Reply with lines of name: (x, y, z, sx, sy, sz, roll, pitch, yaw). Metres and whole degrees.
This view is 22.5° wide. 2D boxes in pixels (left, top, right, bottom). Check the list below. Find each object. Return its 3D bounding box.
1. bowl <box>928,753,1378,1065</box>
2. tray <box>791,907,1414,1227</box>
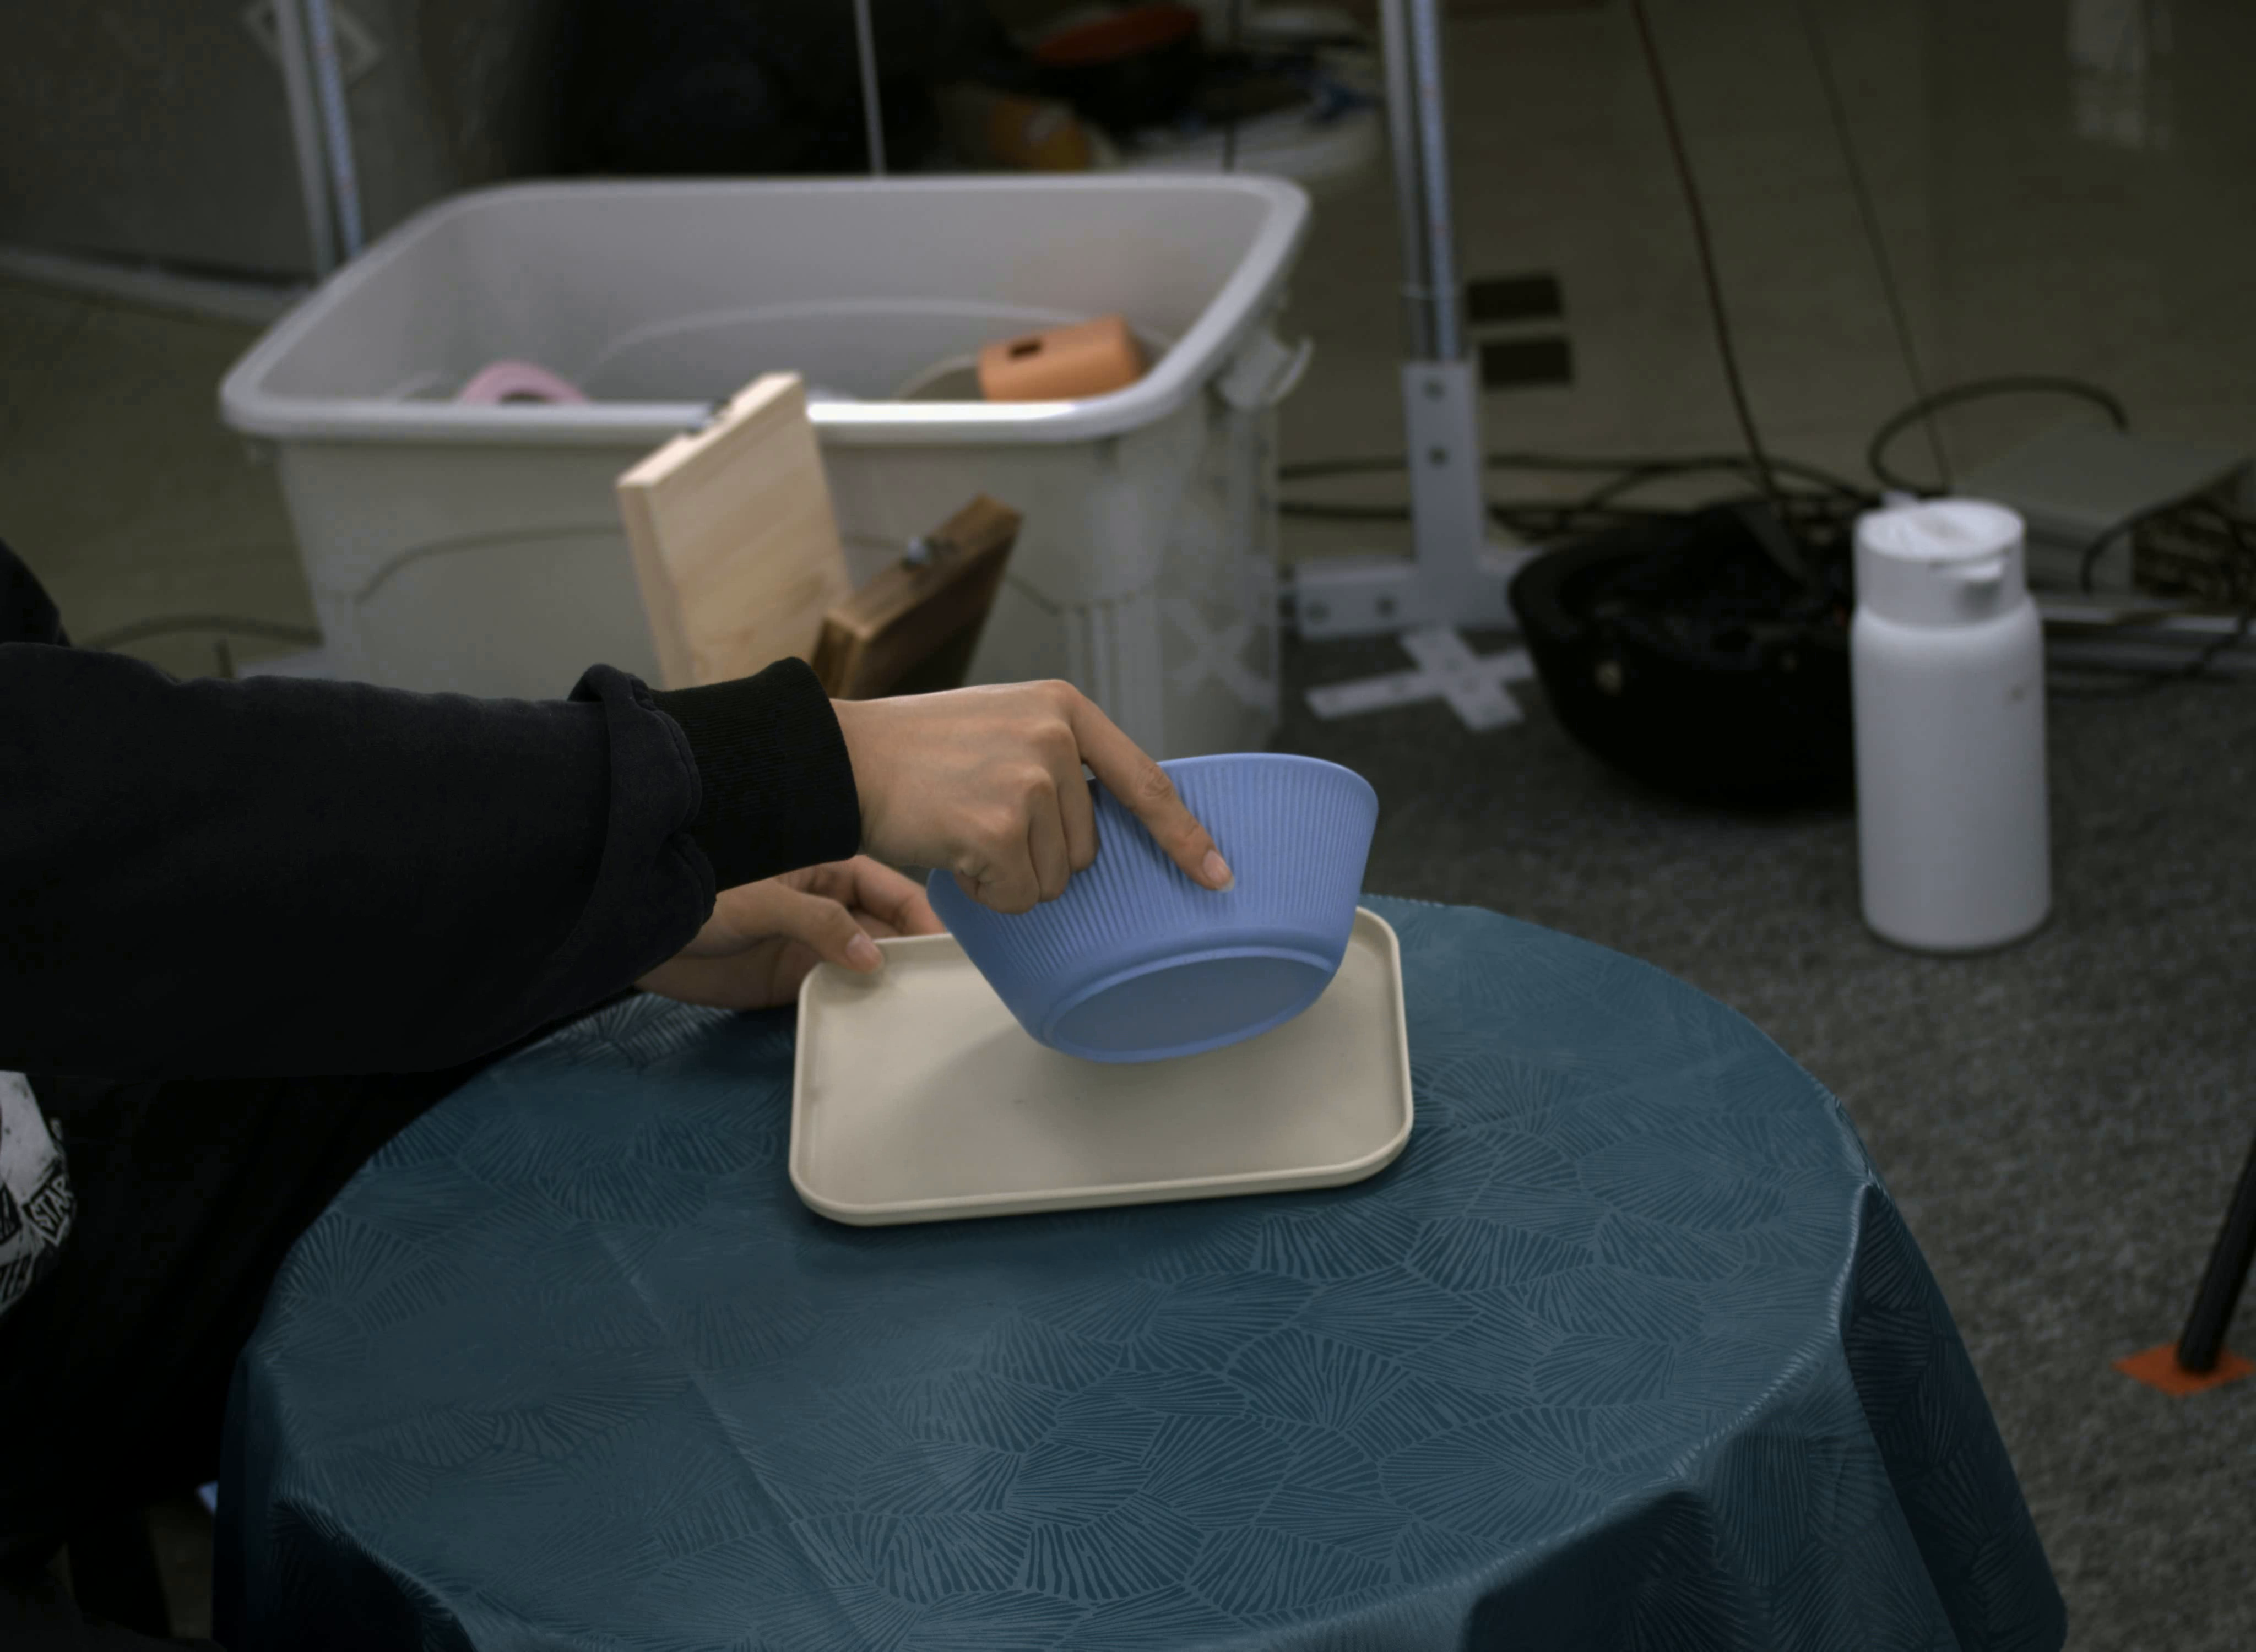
bowl: (0.016, 0.038, 2.146, 0.175, 0.178, 0.069, -9, 69, -7)
tray: (-0.010, 0.094, 2.199, 0.239, 0.018, 0.168, -5, 36, 3)
